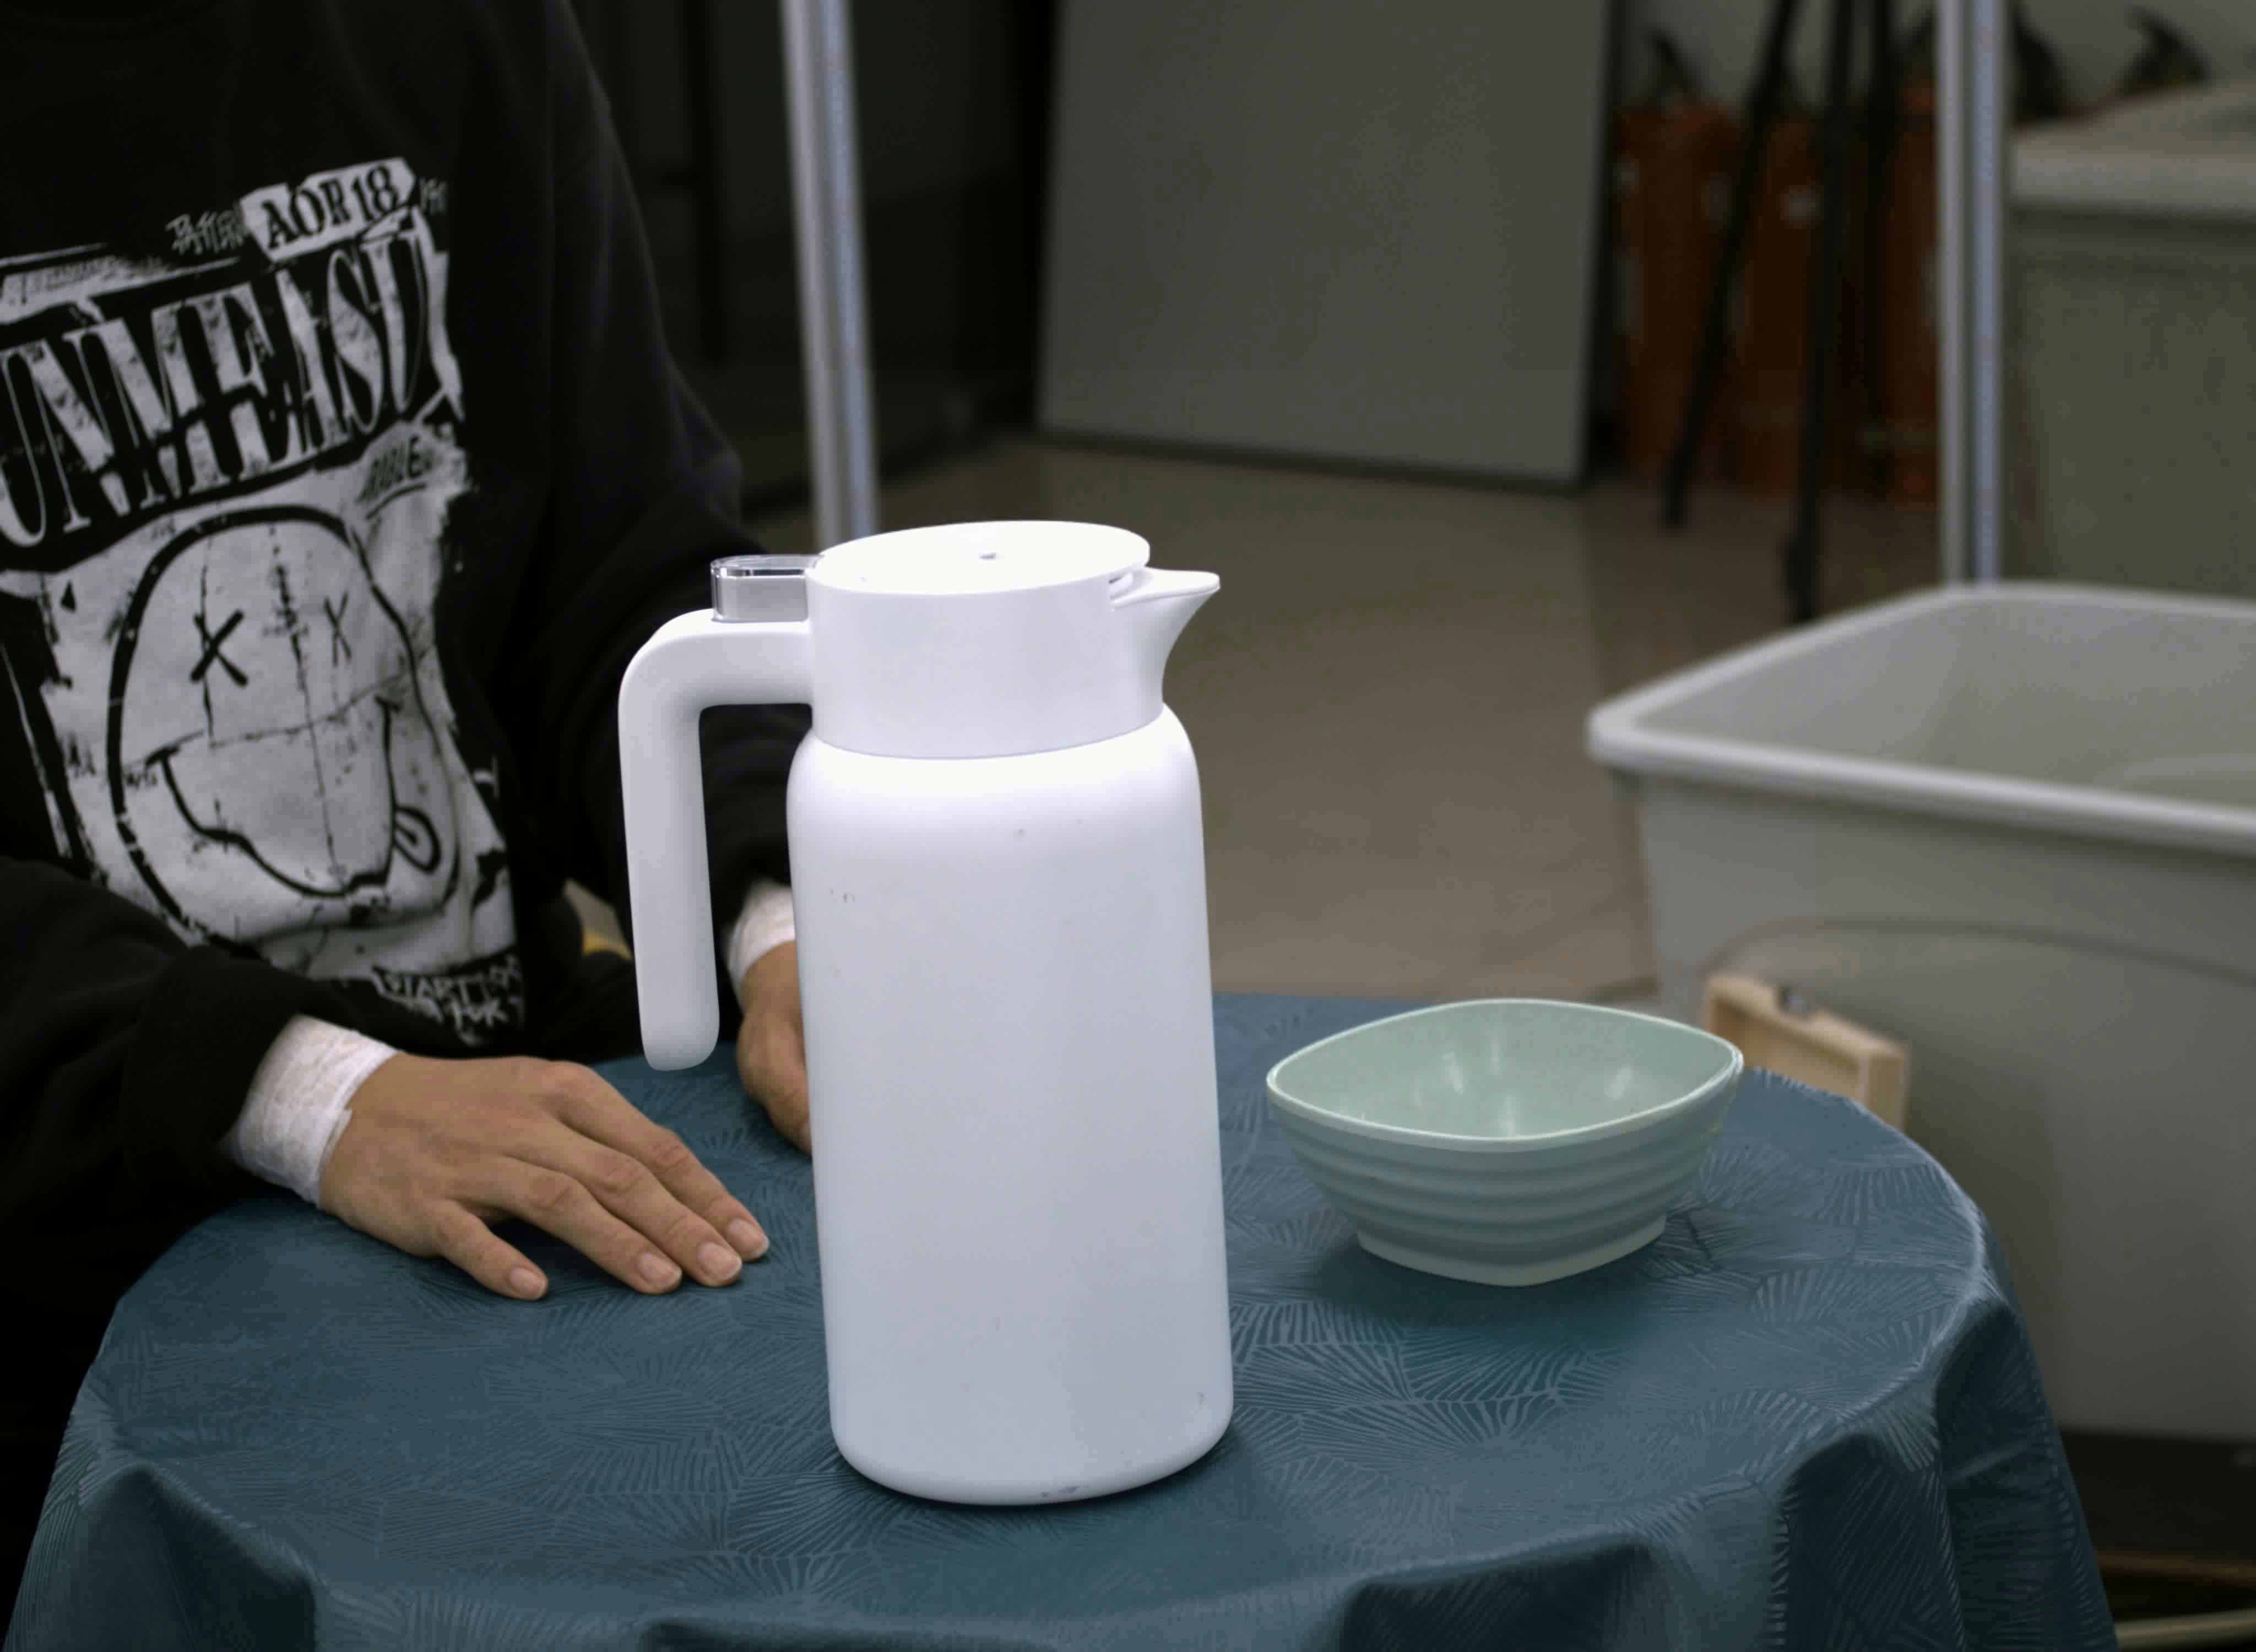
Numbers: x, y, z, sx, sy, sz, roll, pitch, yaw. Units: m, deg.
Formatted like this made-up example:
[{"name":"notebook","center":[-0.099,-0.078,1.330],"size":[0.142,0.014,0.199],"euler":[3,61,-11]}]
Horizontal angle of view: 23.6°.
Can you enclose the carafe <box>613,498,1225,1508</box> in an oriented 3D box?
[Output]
[{"name":"carafe","center":[-0.053,0.049,1.522],"size":[0.171,0.272,0.123],"euler":[-2,15,8]}]

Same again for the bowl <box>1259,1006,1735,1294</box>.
[{"name":"bowl","center":[0.117,0.105,1.694],"size":[0.149,0.059,0.151],"euler":[-4,13,0]}]
